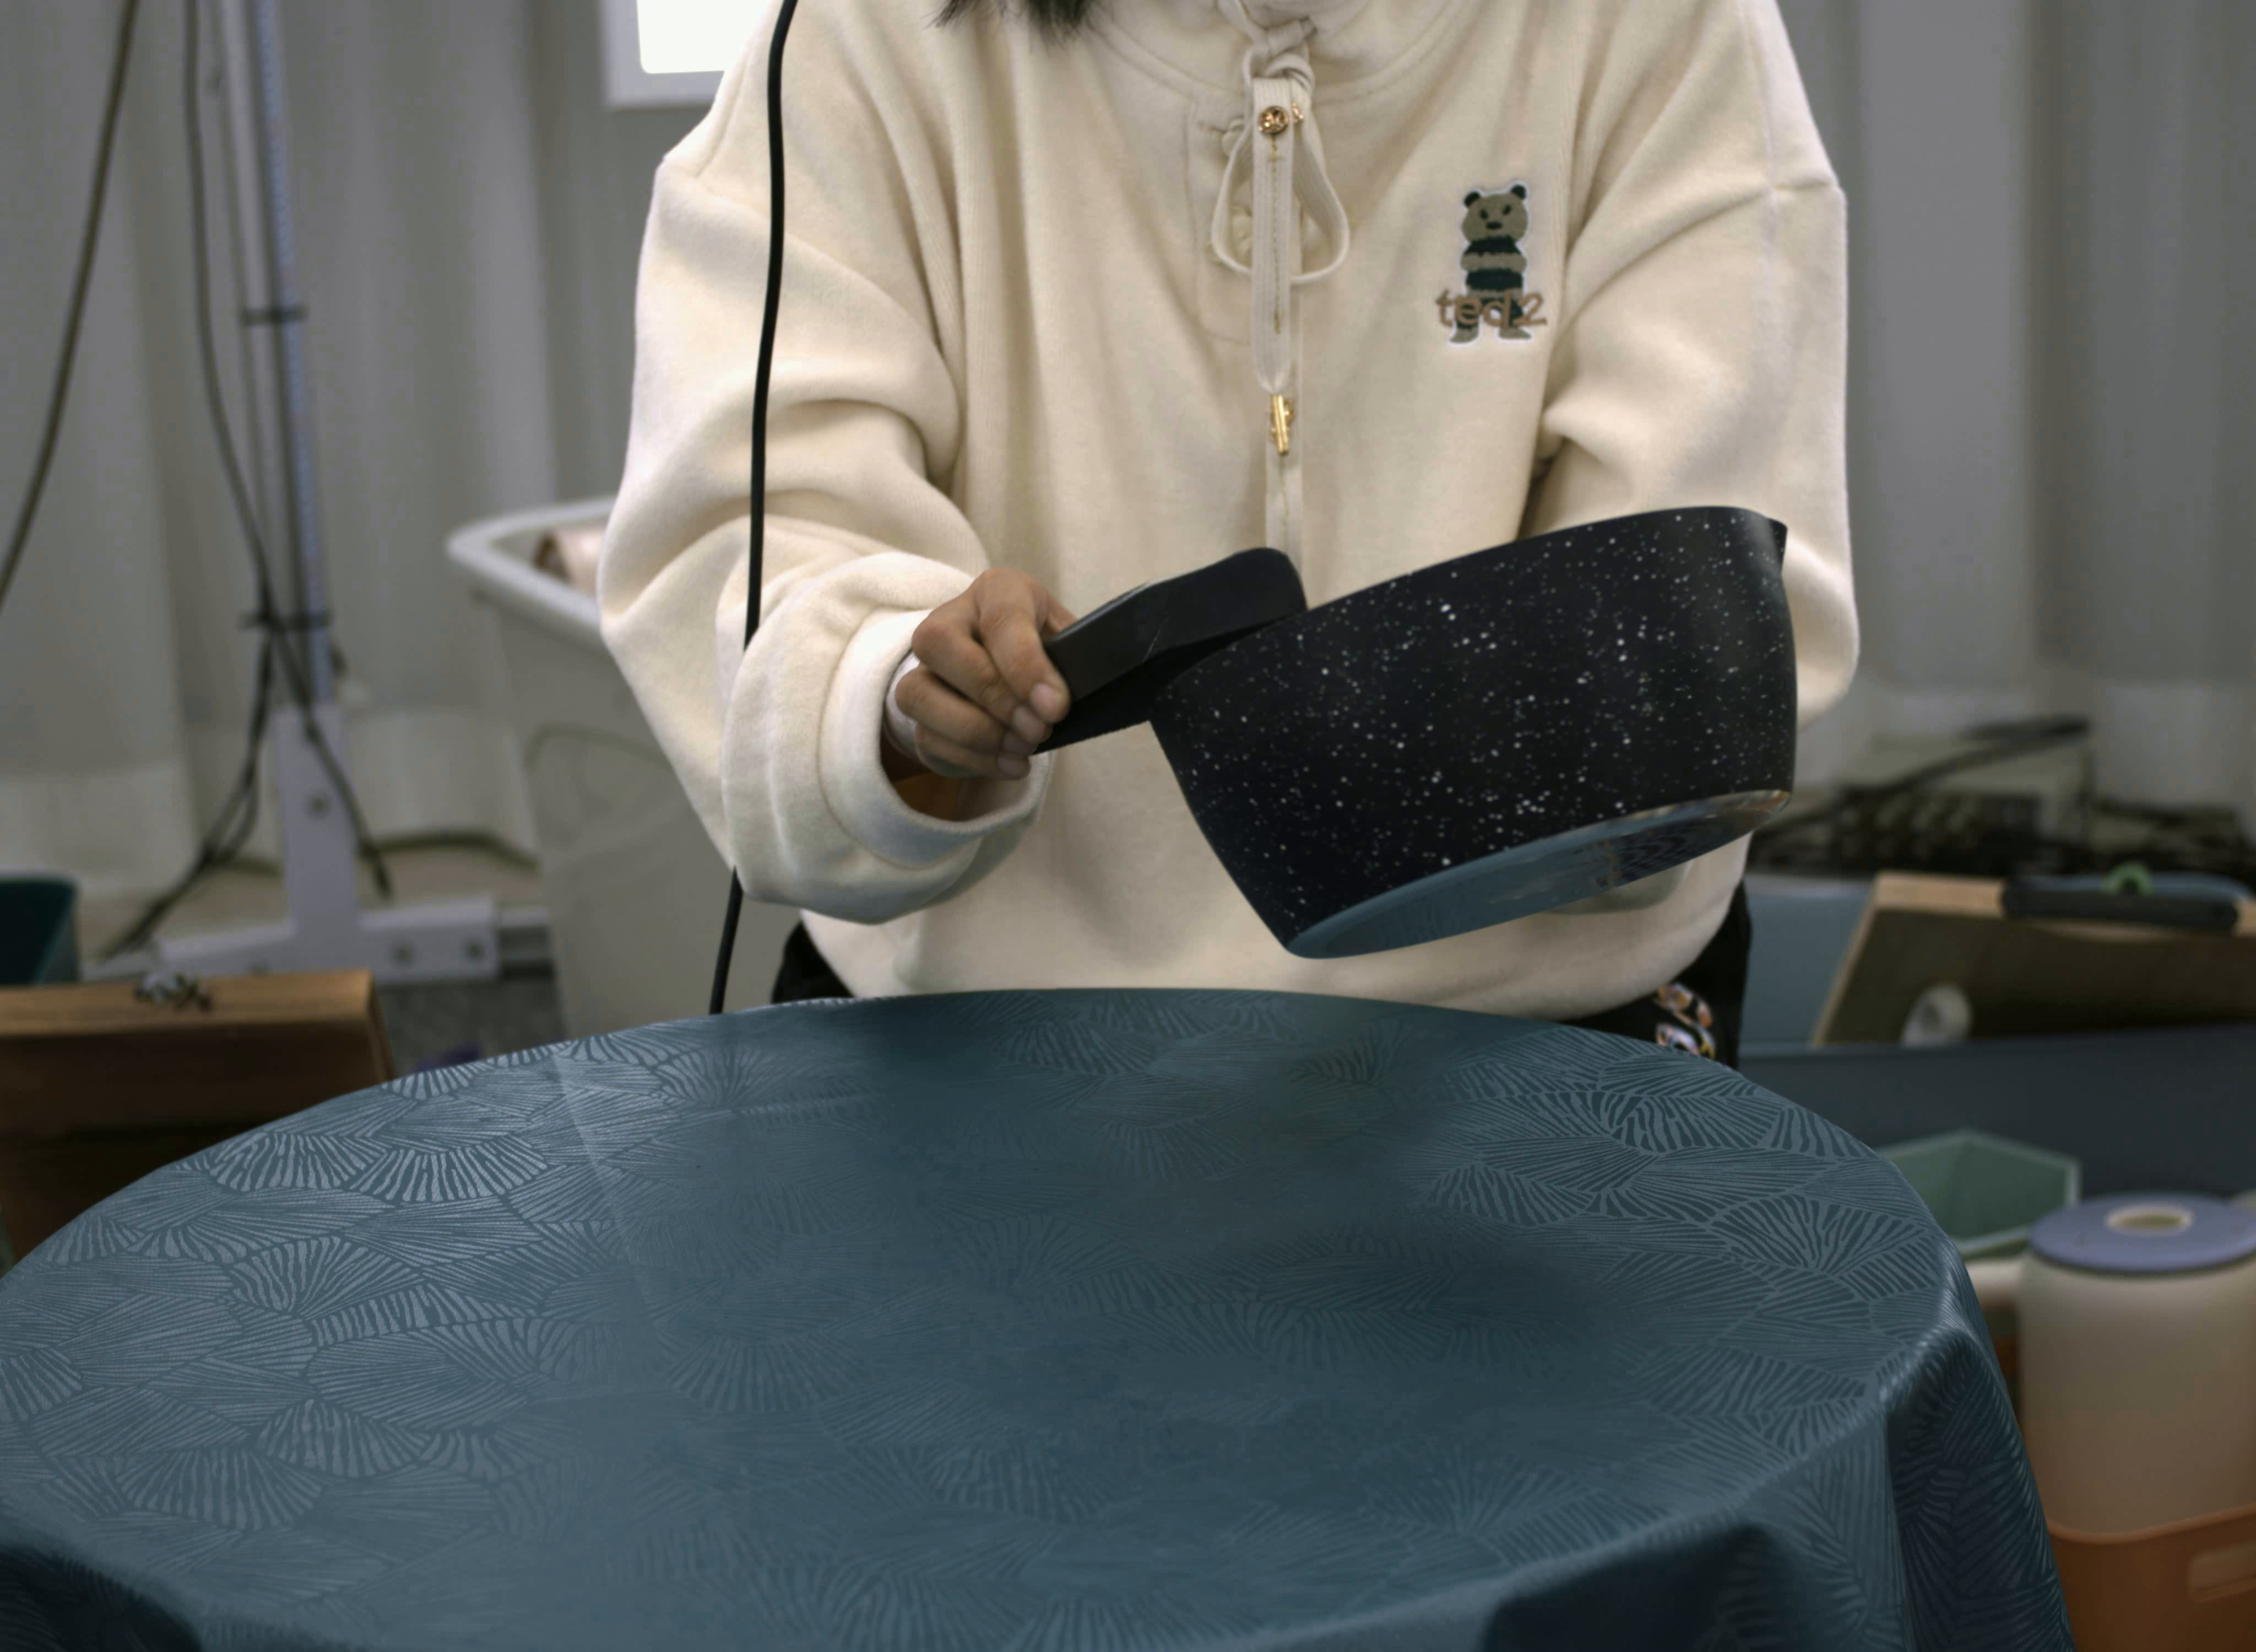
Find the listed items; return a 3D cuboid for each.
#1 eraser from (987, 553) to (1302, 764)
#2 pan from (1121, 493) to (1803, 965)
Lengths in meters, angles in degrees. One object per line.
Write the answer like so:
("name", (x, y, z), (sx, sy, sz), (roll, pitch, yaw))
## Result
("eraser", (0.005, -0.052, 1.702), (0.053, 0.030, 0.125), (-15, -7, -28))
("pan", (0.102, -0.021, 1.666), (0.207, 0.109, 0.341), (-17, -7, -5))
